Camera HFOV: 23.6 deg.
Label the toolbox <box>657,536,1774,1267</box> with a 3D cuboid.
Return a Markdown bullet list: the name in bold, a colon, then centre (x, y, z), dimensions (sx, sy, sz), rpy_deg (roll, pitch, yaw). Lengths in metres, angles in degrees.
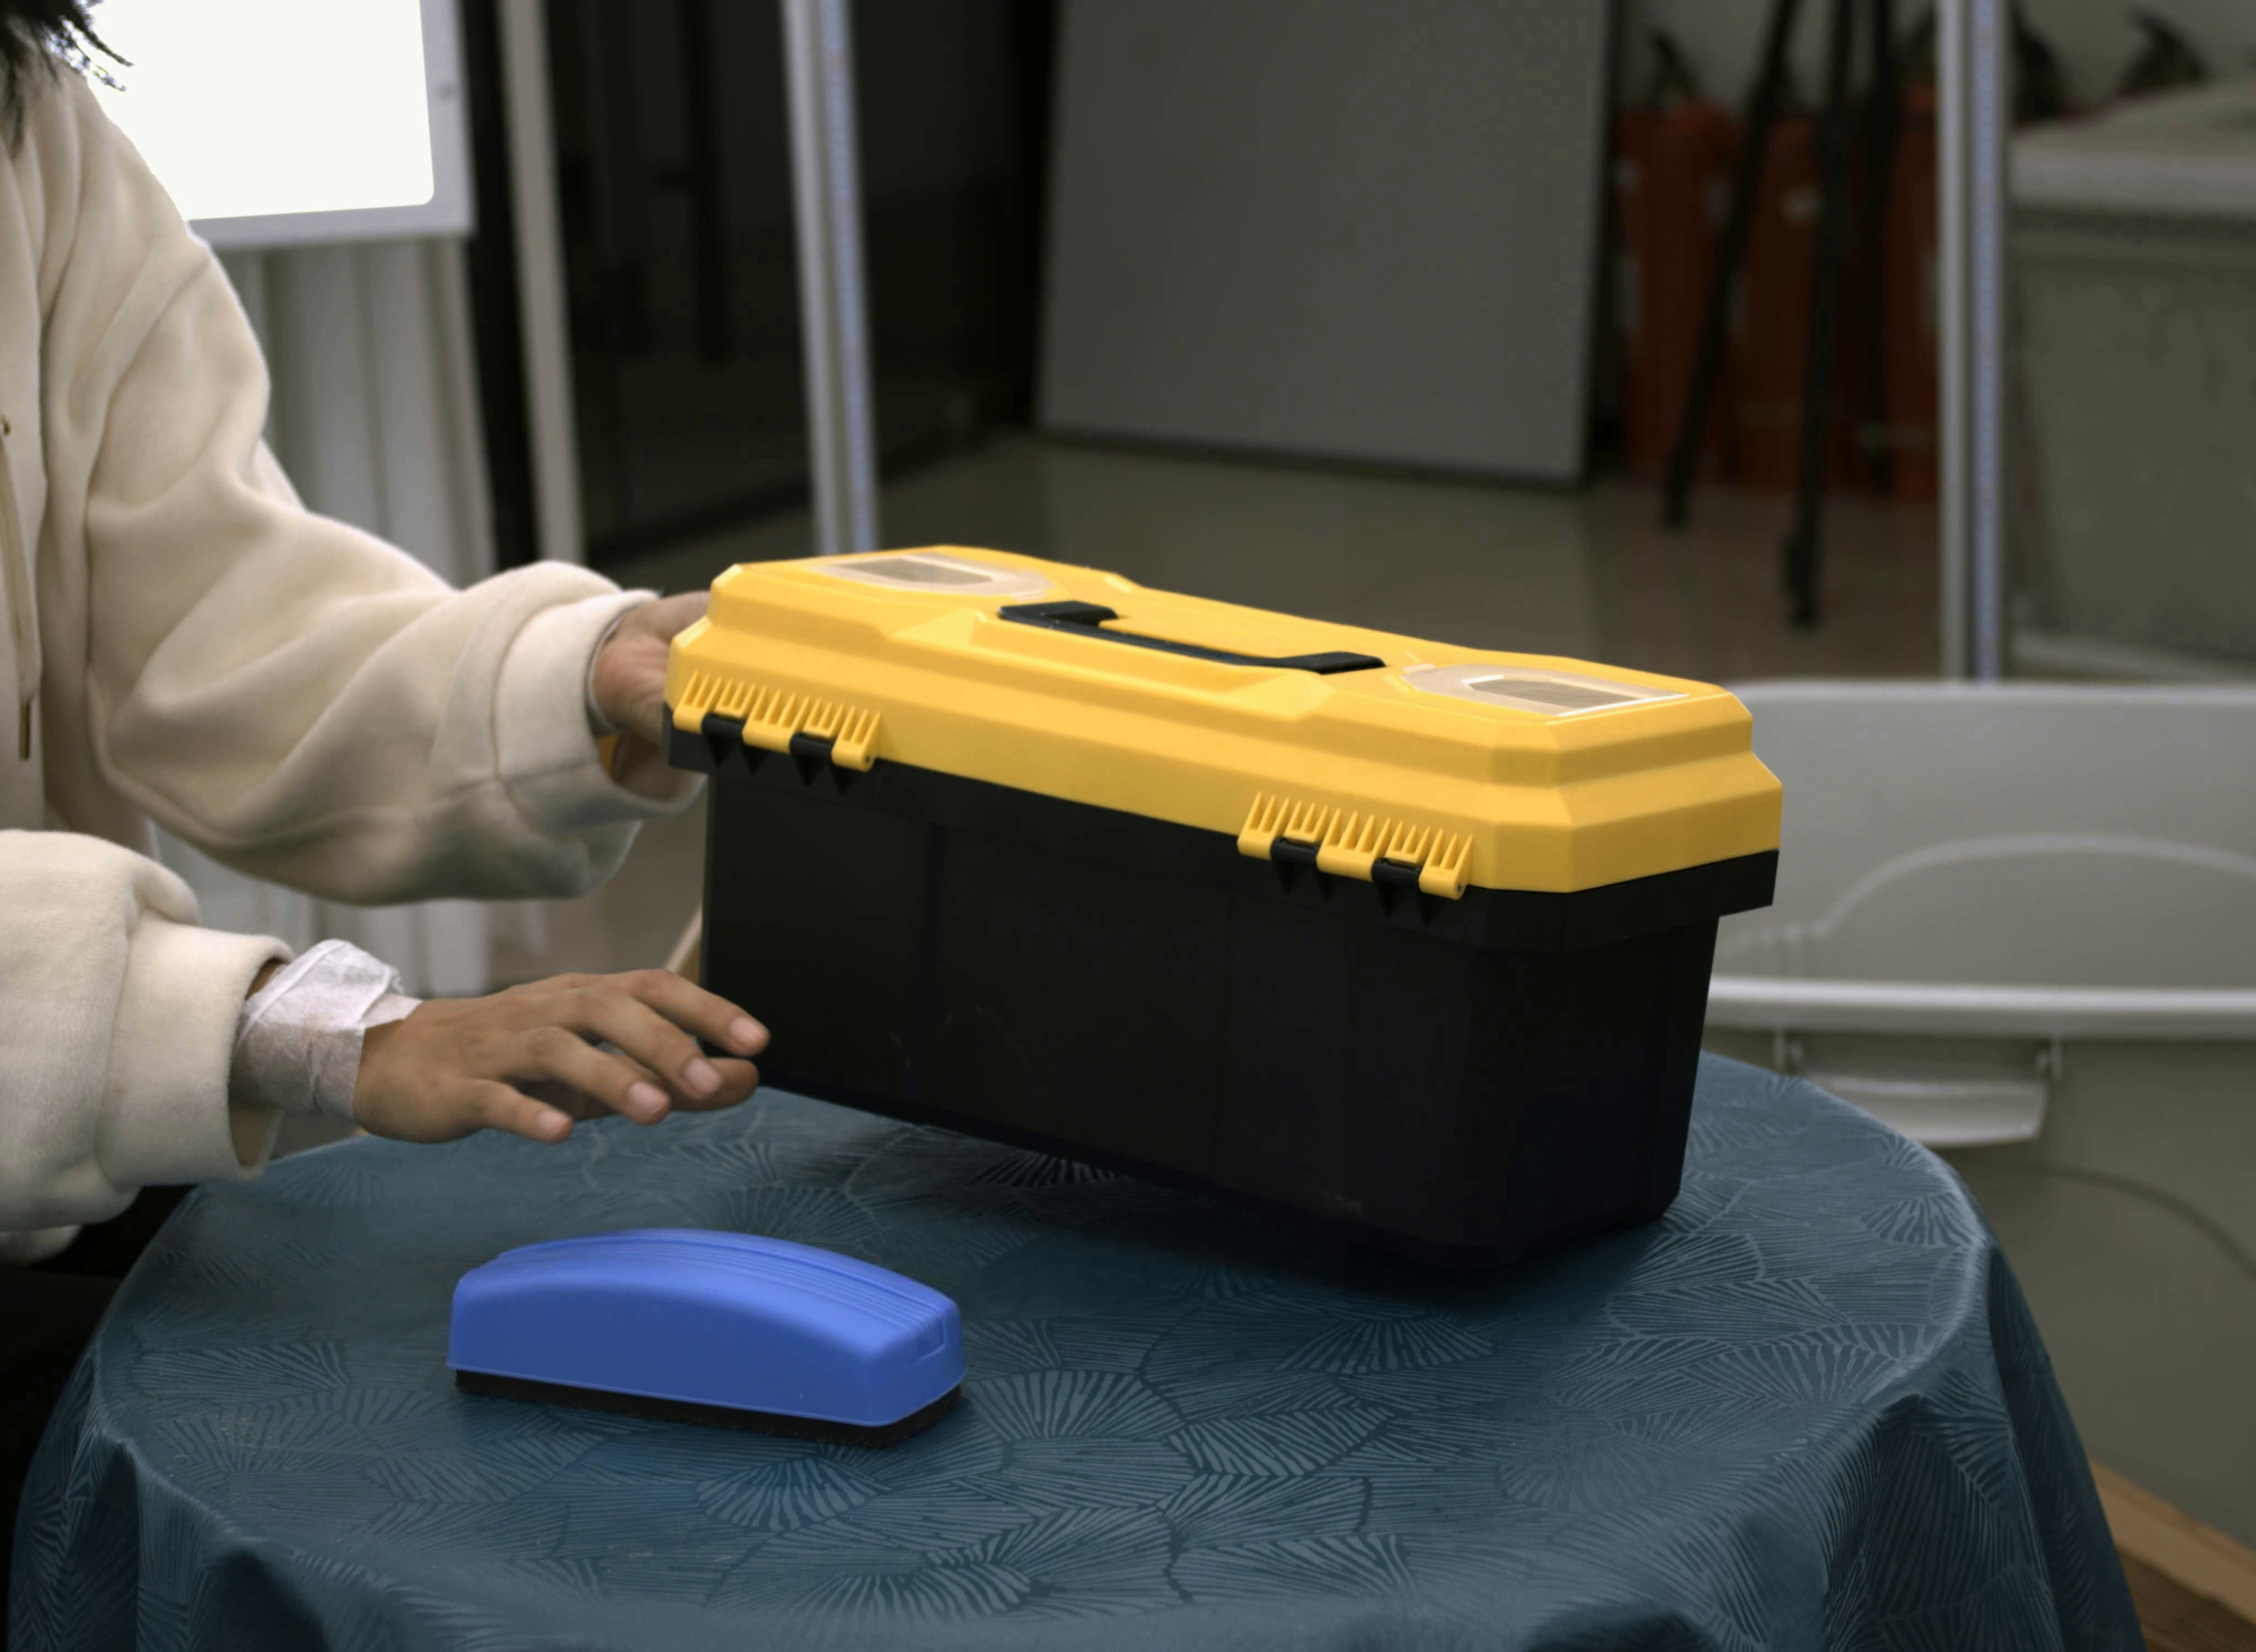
- **toolbox**: centre (0.022, 0.017, 1.739), dimensions (0.354, 0.175, 0.178), rpy_deg (12, 13, 36)

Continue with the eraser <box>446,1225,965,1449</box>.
- **eraser**: centre (-0.126, 0.147, 1.601), dimensions (0.163, 0.048, 0.053), rpy_deg (5, 15, 29)
